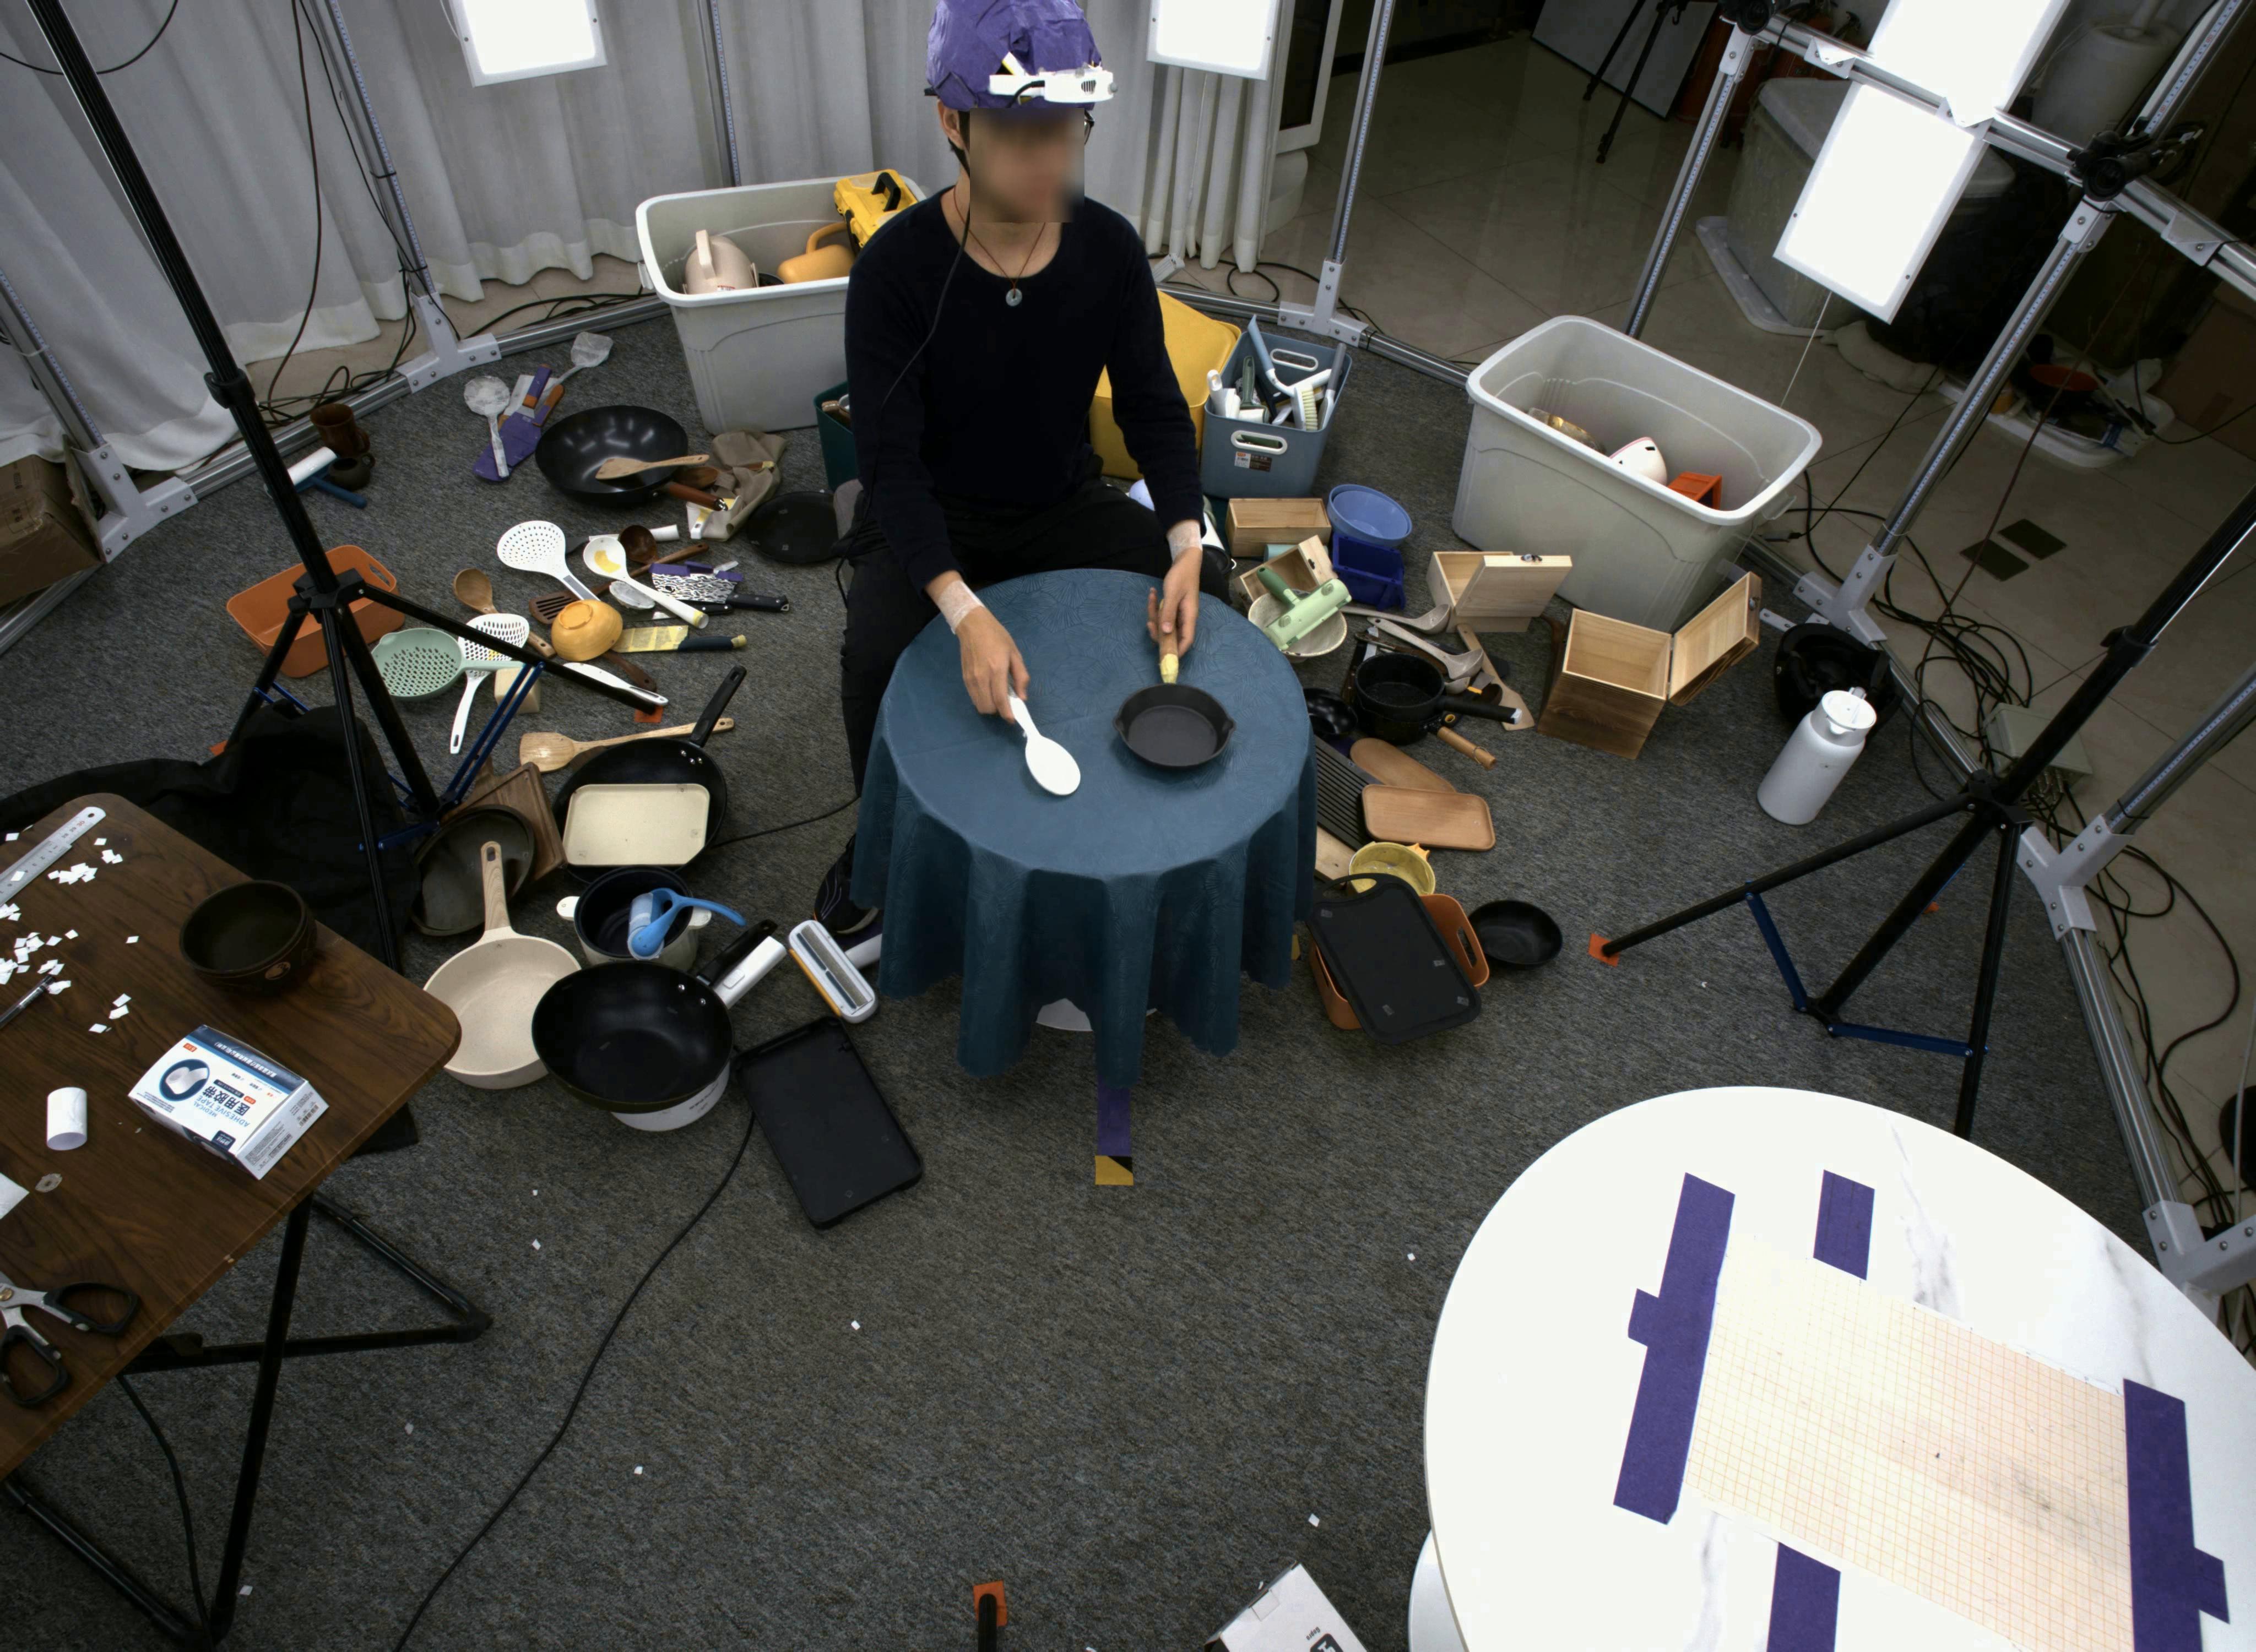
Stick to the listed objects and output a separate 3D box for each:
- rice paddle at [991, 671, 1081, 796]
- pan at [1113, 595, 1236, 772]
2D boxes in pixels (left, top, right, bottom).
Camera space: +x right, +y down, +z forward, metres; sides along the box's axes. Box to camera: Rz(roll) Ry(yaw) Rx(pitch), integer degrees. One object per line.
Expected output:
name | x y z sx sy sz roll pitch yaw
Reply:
rice paddle | -0.127 -0.124 1.734 0.069 0.029 0.209 -19 63 -24
pan | 0.064 -0.203 1.816 0.169 0.048 0.332 2 51 -2
